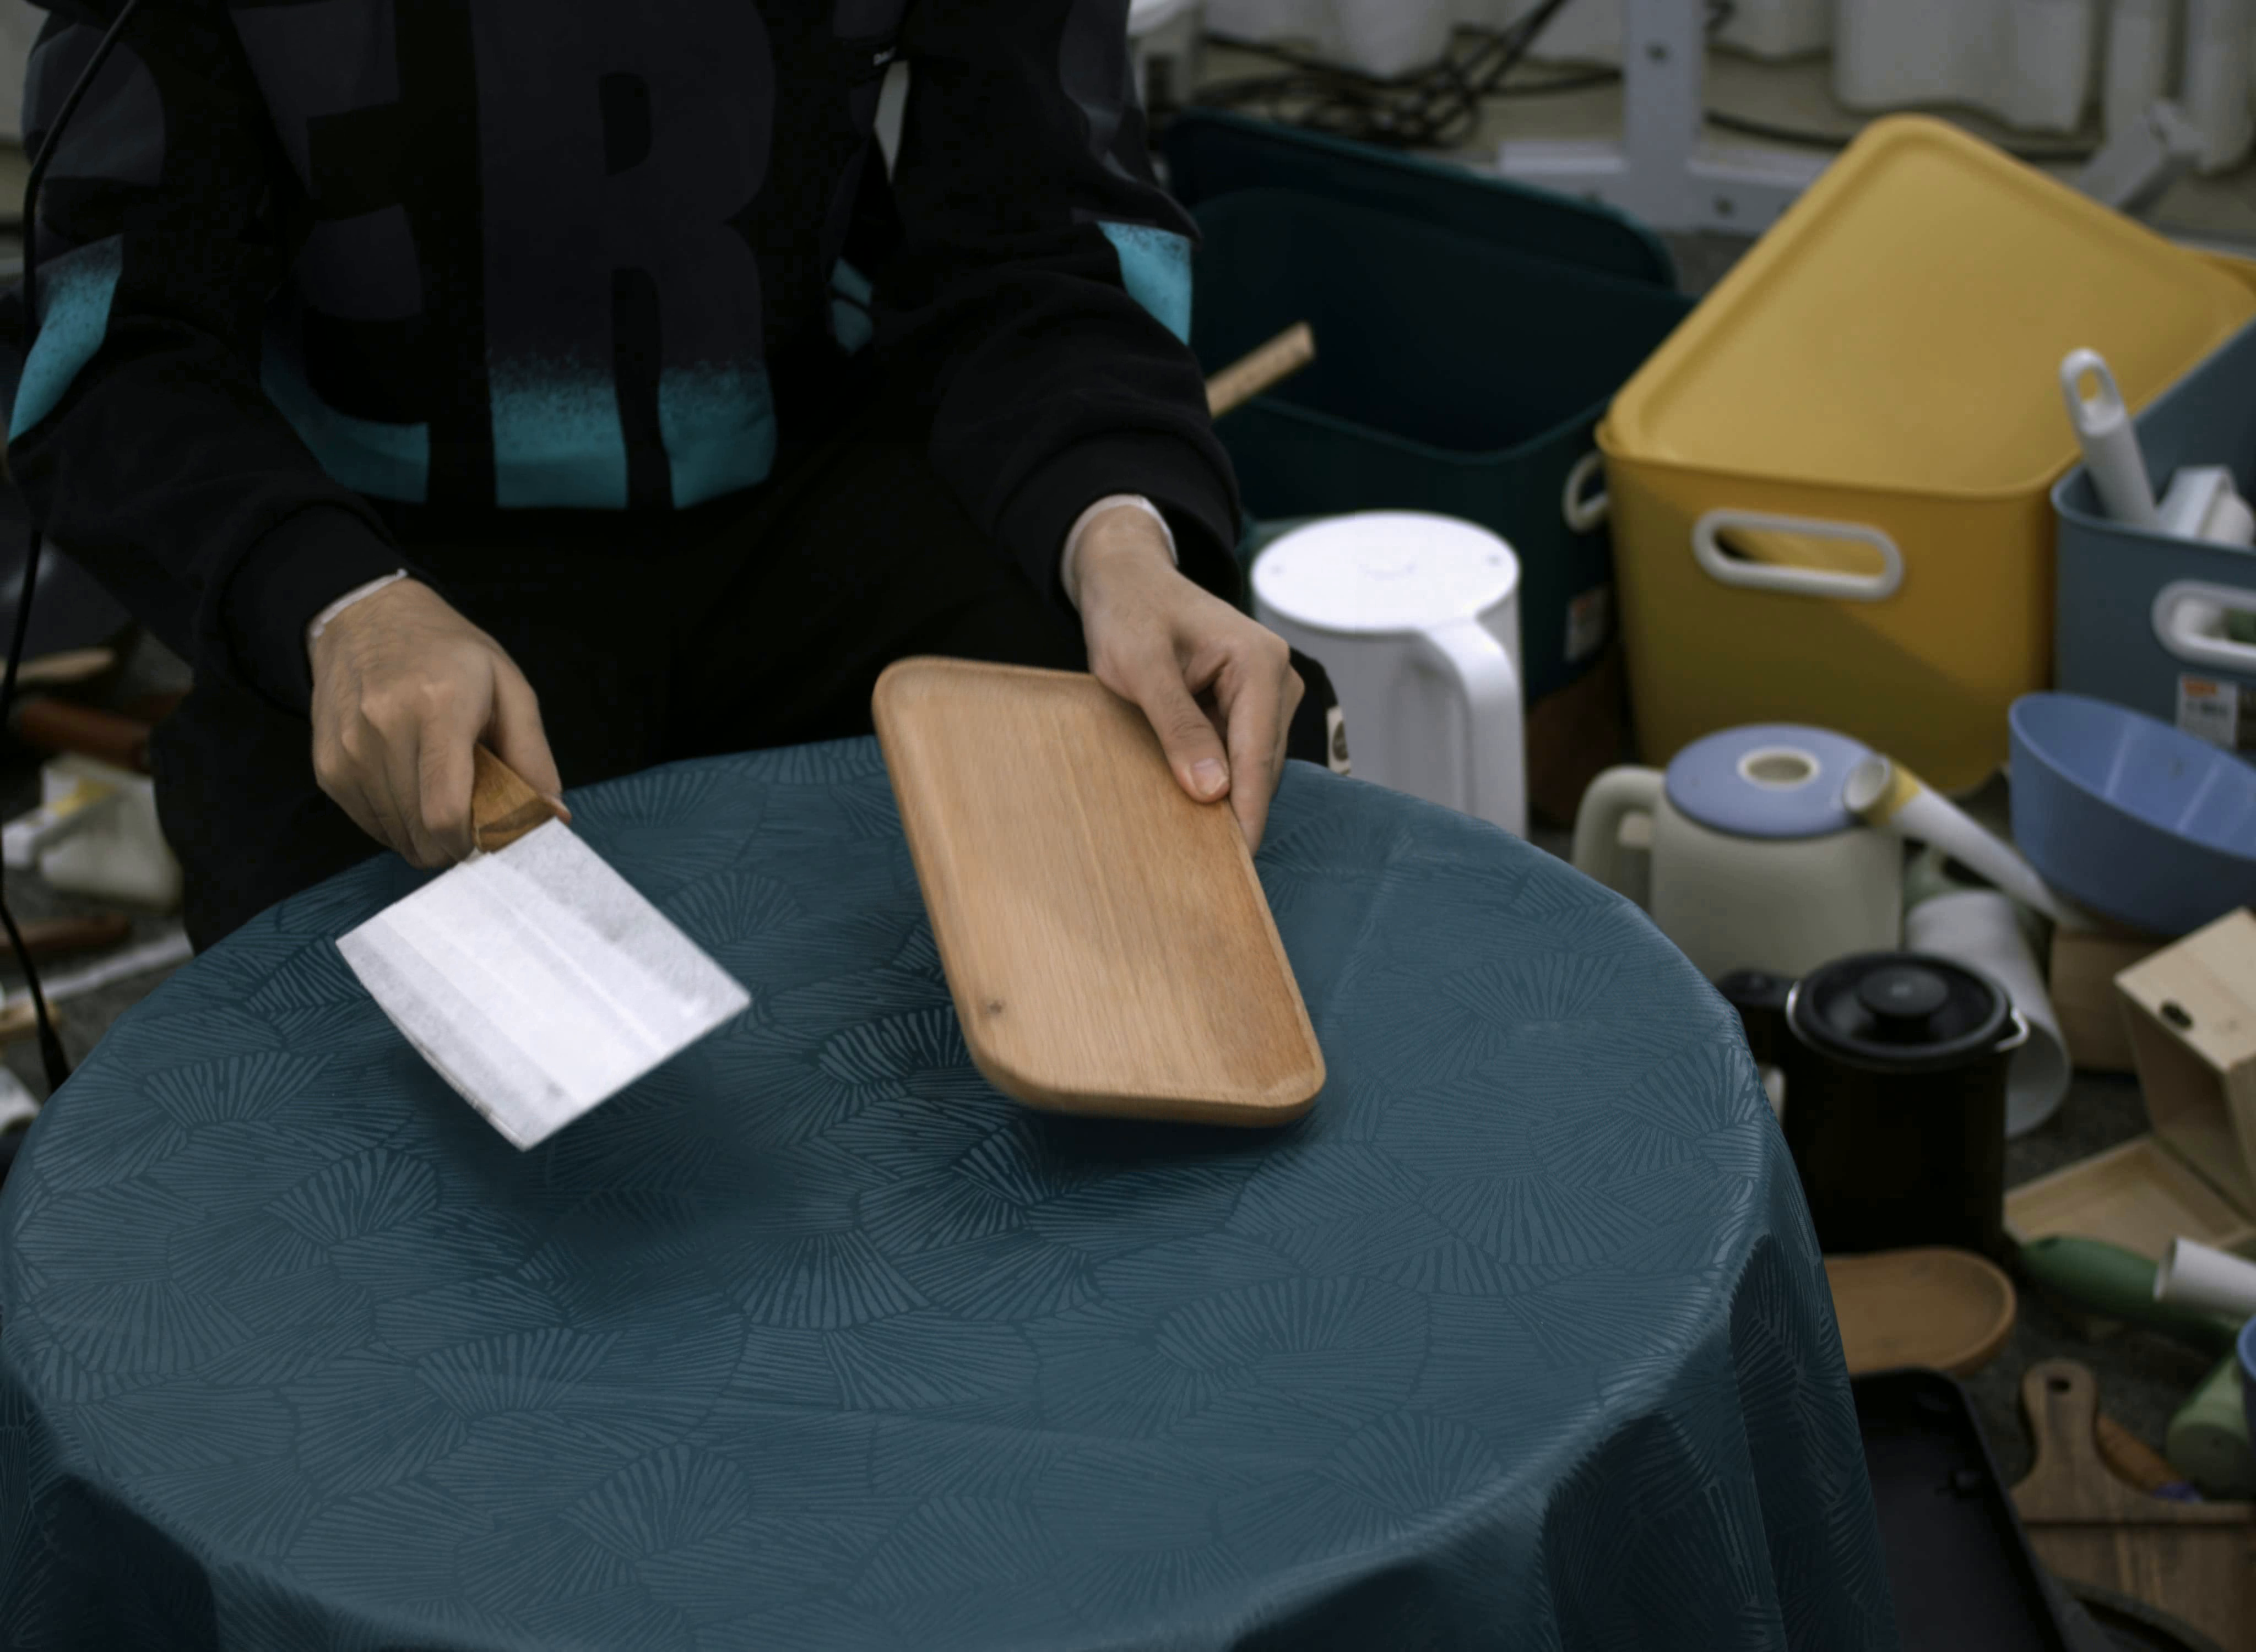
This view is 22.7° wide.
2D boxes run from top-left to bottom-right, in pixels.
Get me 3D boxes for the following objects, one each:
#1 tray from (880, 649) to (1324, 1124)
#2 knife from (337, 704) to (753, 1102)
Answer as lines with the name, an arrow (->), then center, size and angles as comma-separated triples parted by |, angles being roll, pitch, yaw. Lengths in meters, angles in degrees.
tray -> -0.013, 0.019, 1.961 | 0.130, 0.022, 0.254 | 11, 31, -19
knife -> -0.223, 0.028, 1.941 | 0.093, 0.021, 0.306 | -34, 31, -14
